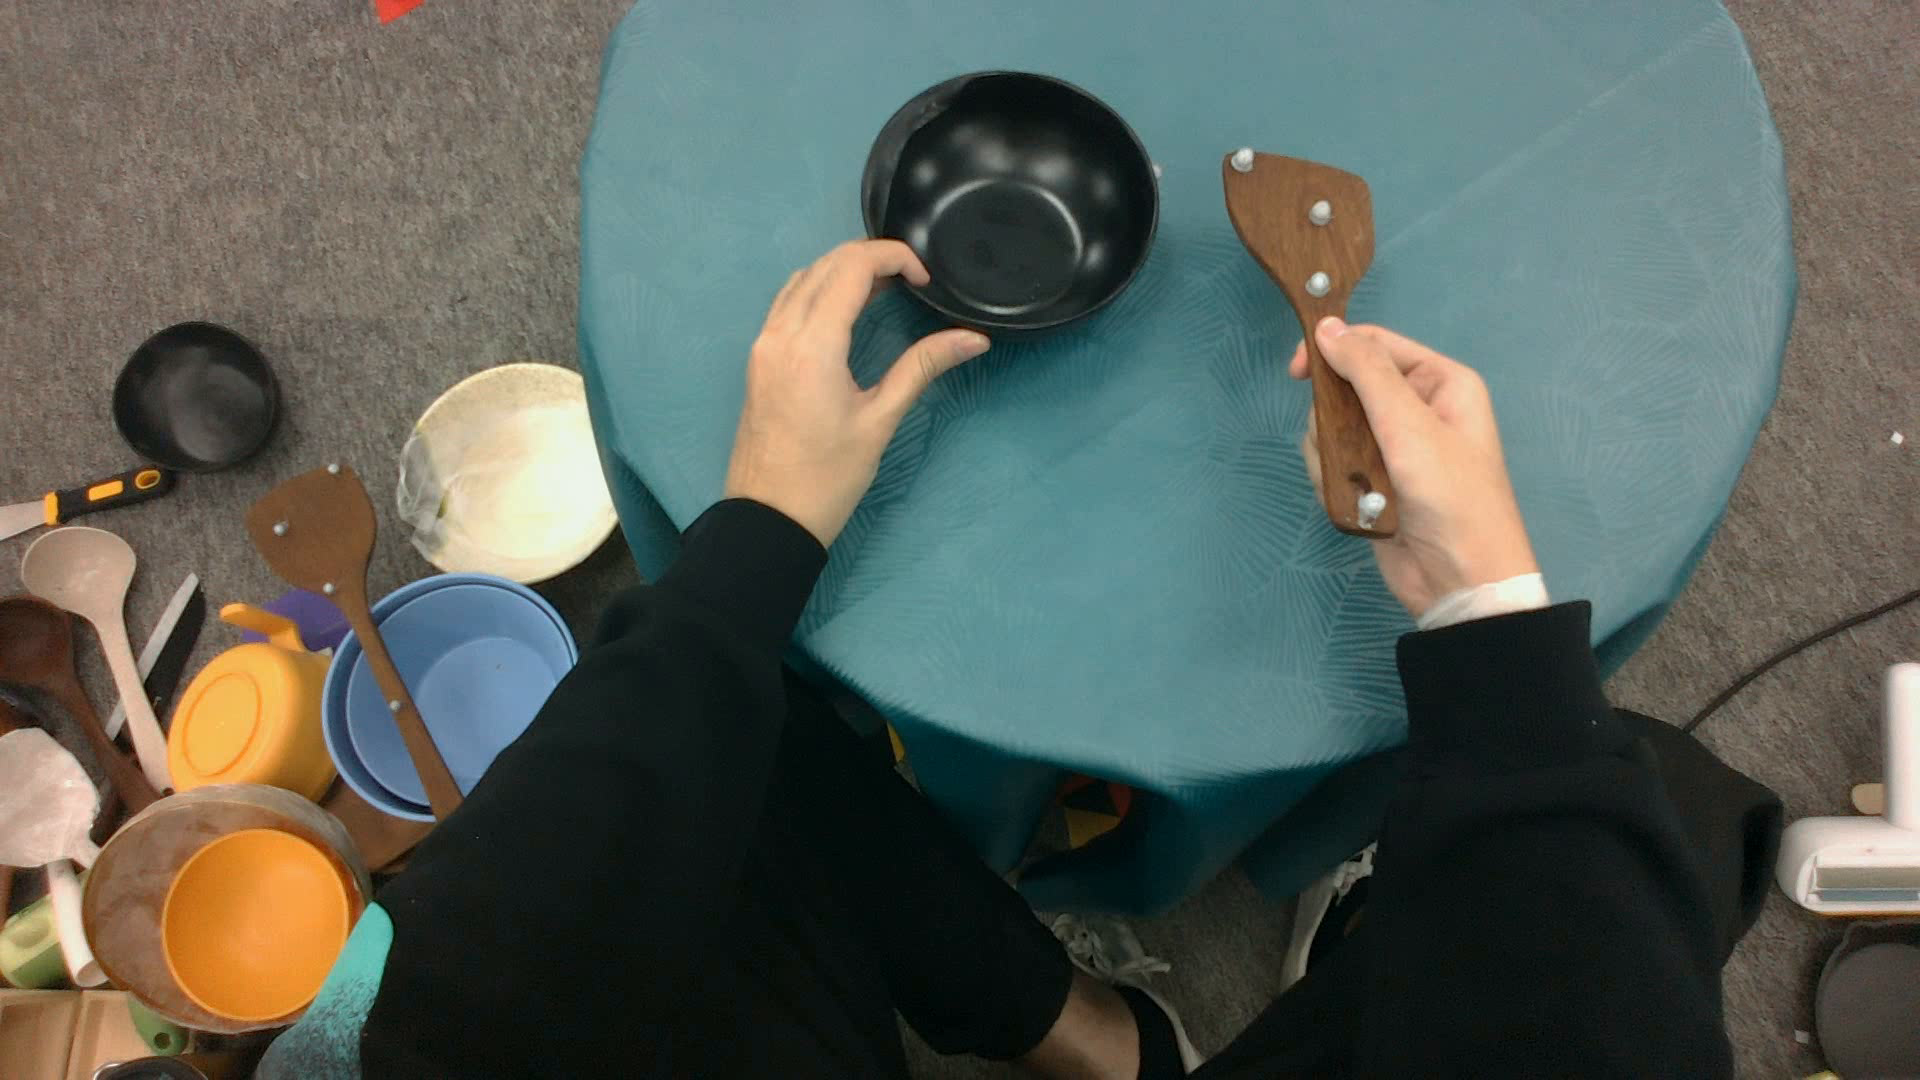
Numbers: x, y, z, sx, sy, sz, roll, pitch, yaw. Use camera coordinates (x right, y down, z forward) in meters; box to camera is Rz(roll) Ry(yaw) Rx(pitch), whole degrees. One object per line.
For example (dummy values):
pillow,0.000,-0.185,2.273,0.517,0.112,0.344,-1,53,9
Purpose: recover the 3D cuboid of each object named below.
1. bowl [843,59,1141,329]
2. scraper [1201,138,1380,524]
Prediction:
bowl,0.013,-0.157,0.657,0.140,0.049,0.140,2,71,-6
scraper,0.146,-0.094,0.580,0.076,0.011,0.212,8,54,-12
